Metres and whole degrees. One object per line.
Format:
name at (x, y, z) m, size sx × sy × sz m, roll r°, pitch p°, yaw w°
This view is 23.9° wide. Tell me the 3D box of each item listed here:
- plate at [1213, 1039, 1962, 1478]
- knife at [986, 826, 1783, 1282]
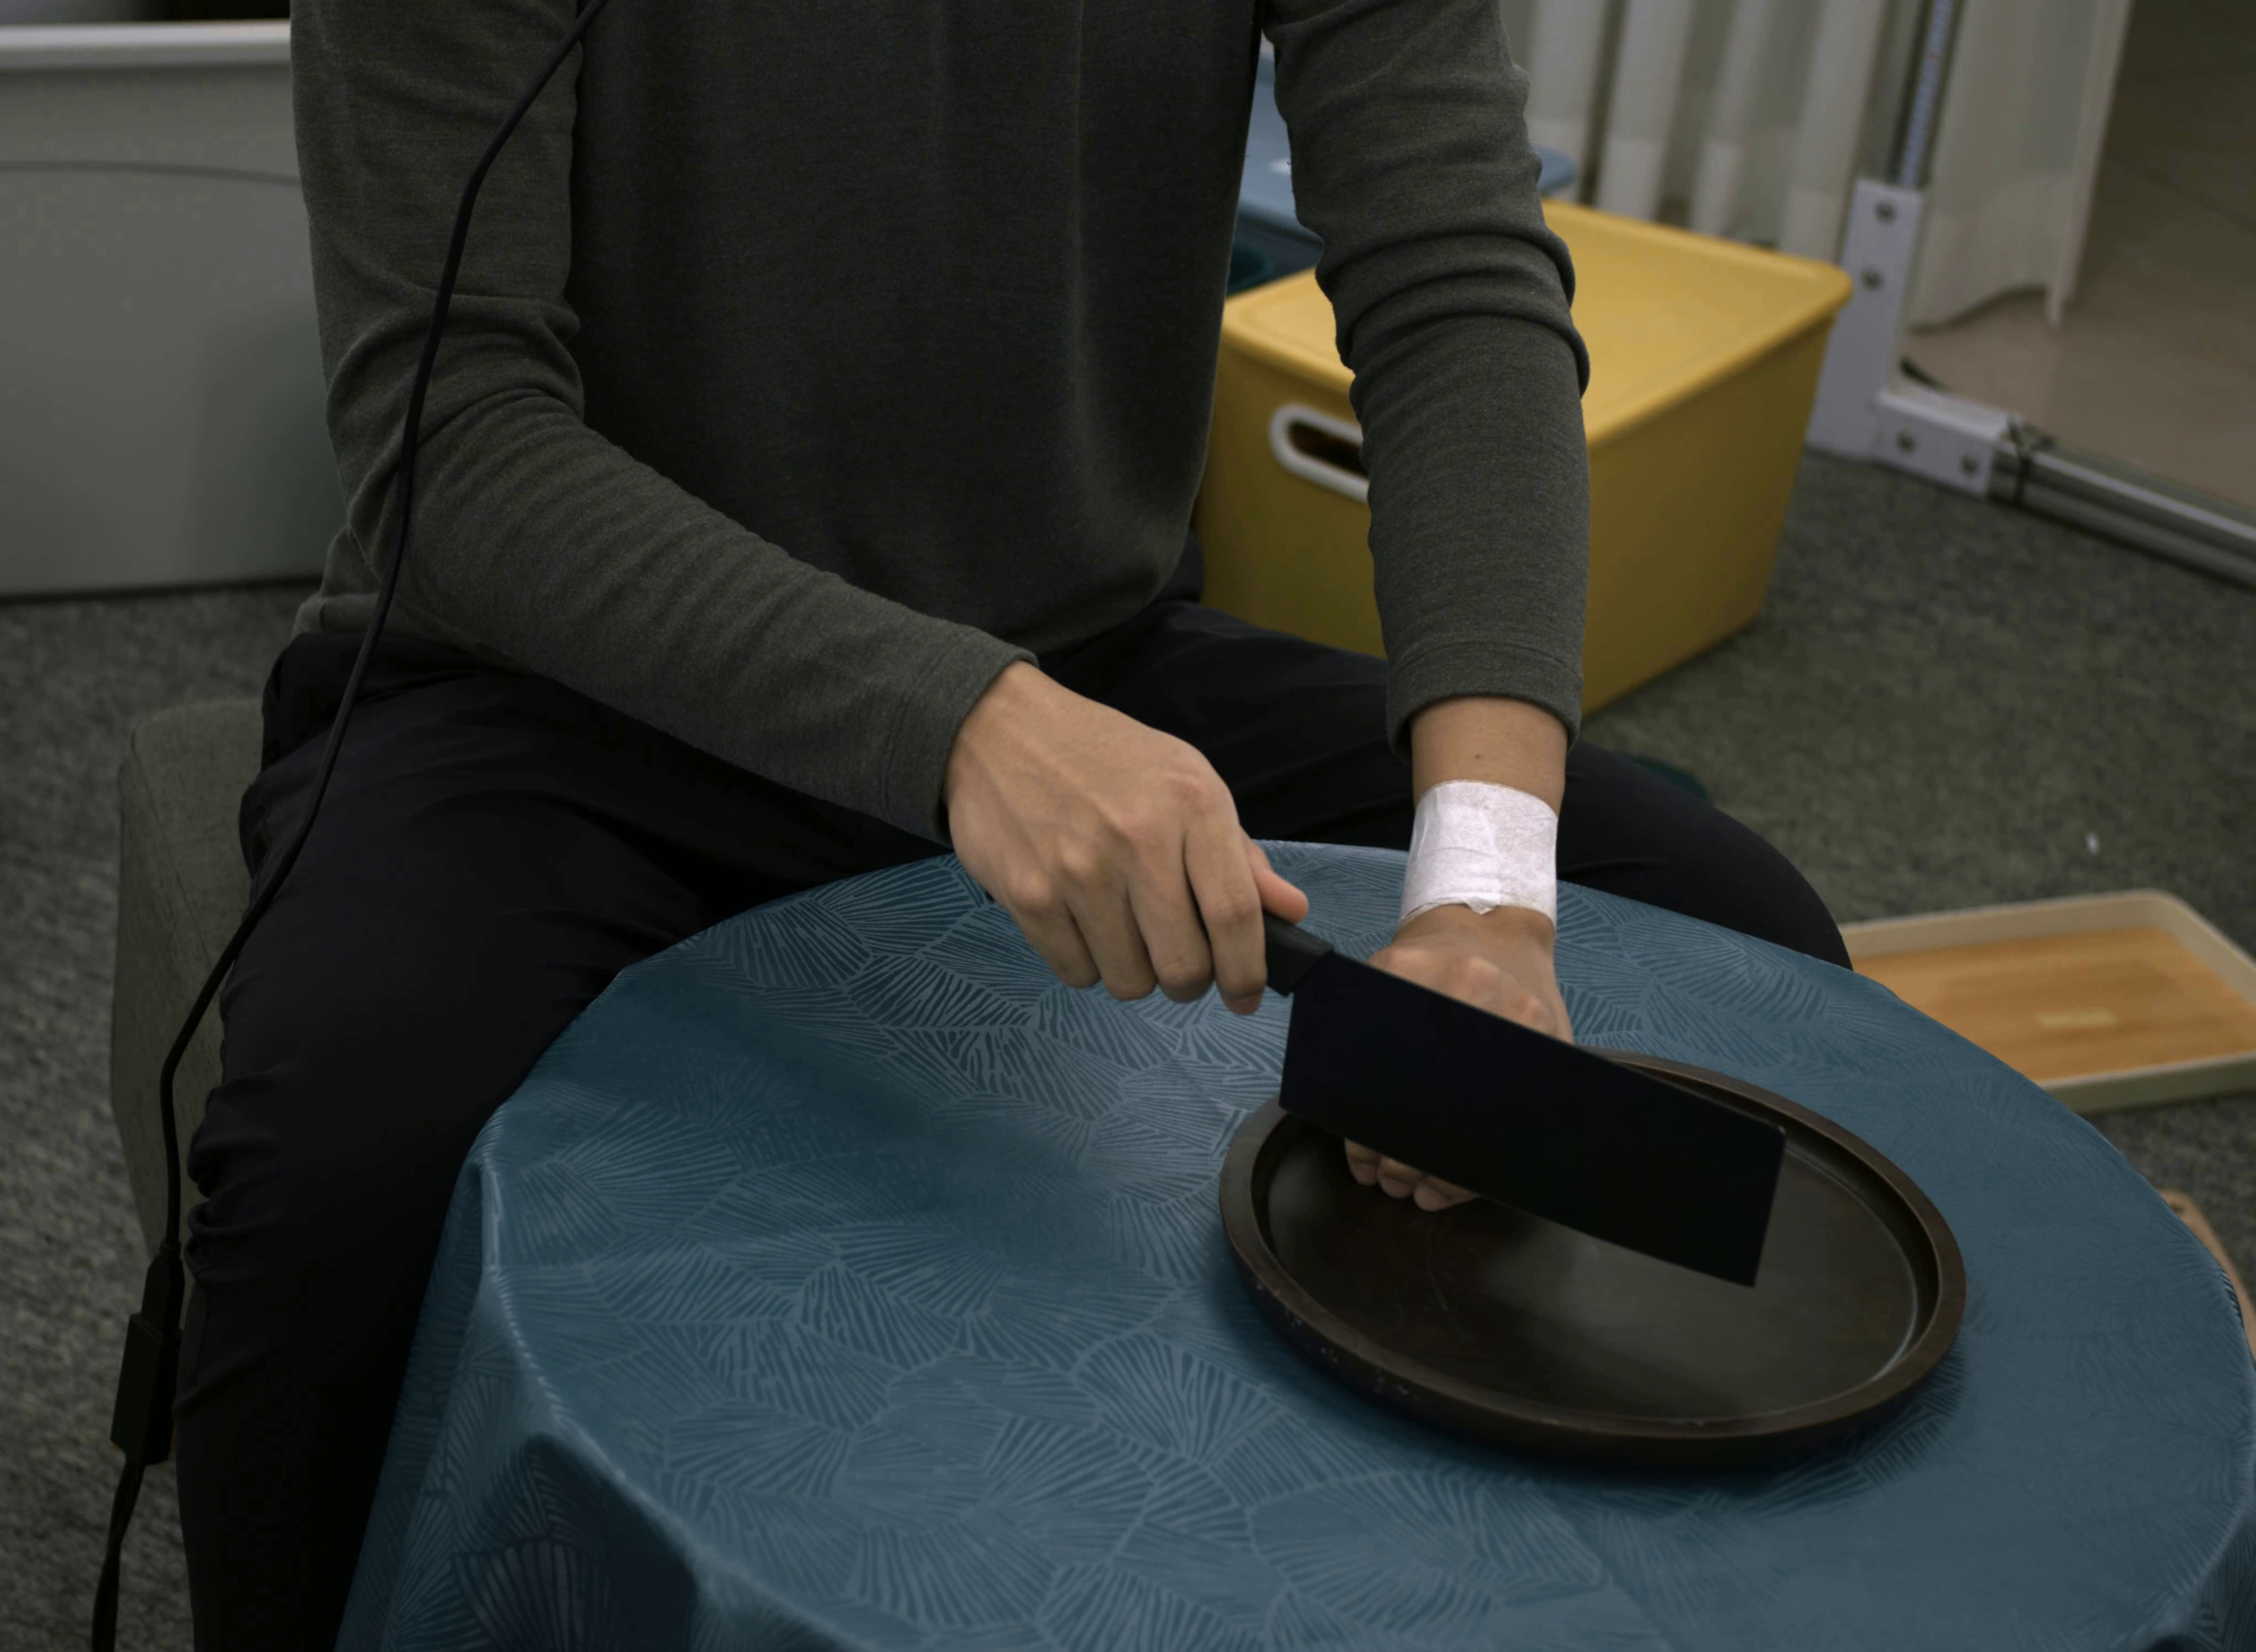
plate at (0.152, 0.142, 1.779) m, size 0.254 × 0.029 × 0.256 m, roll 4°, pitch 28°, yaw -3°
knife at (0.080, 0.071, 1.765) m, size 0.304 × 0.081 × 0.021 m, roll 25°, pitch 30°, yaw 24°
